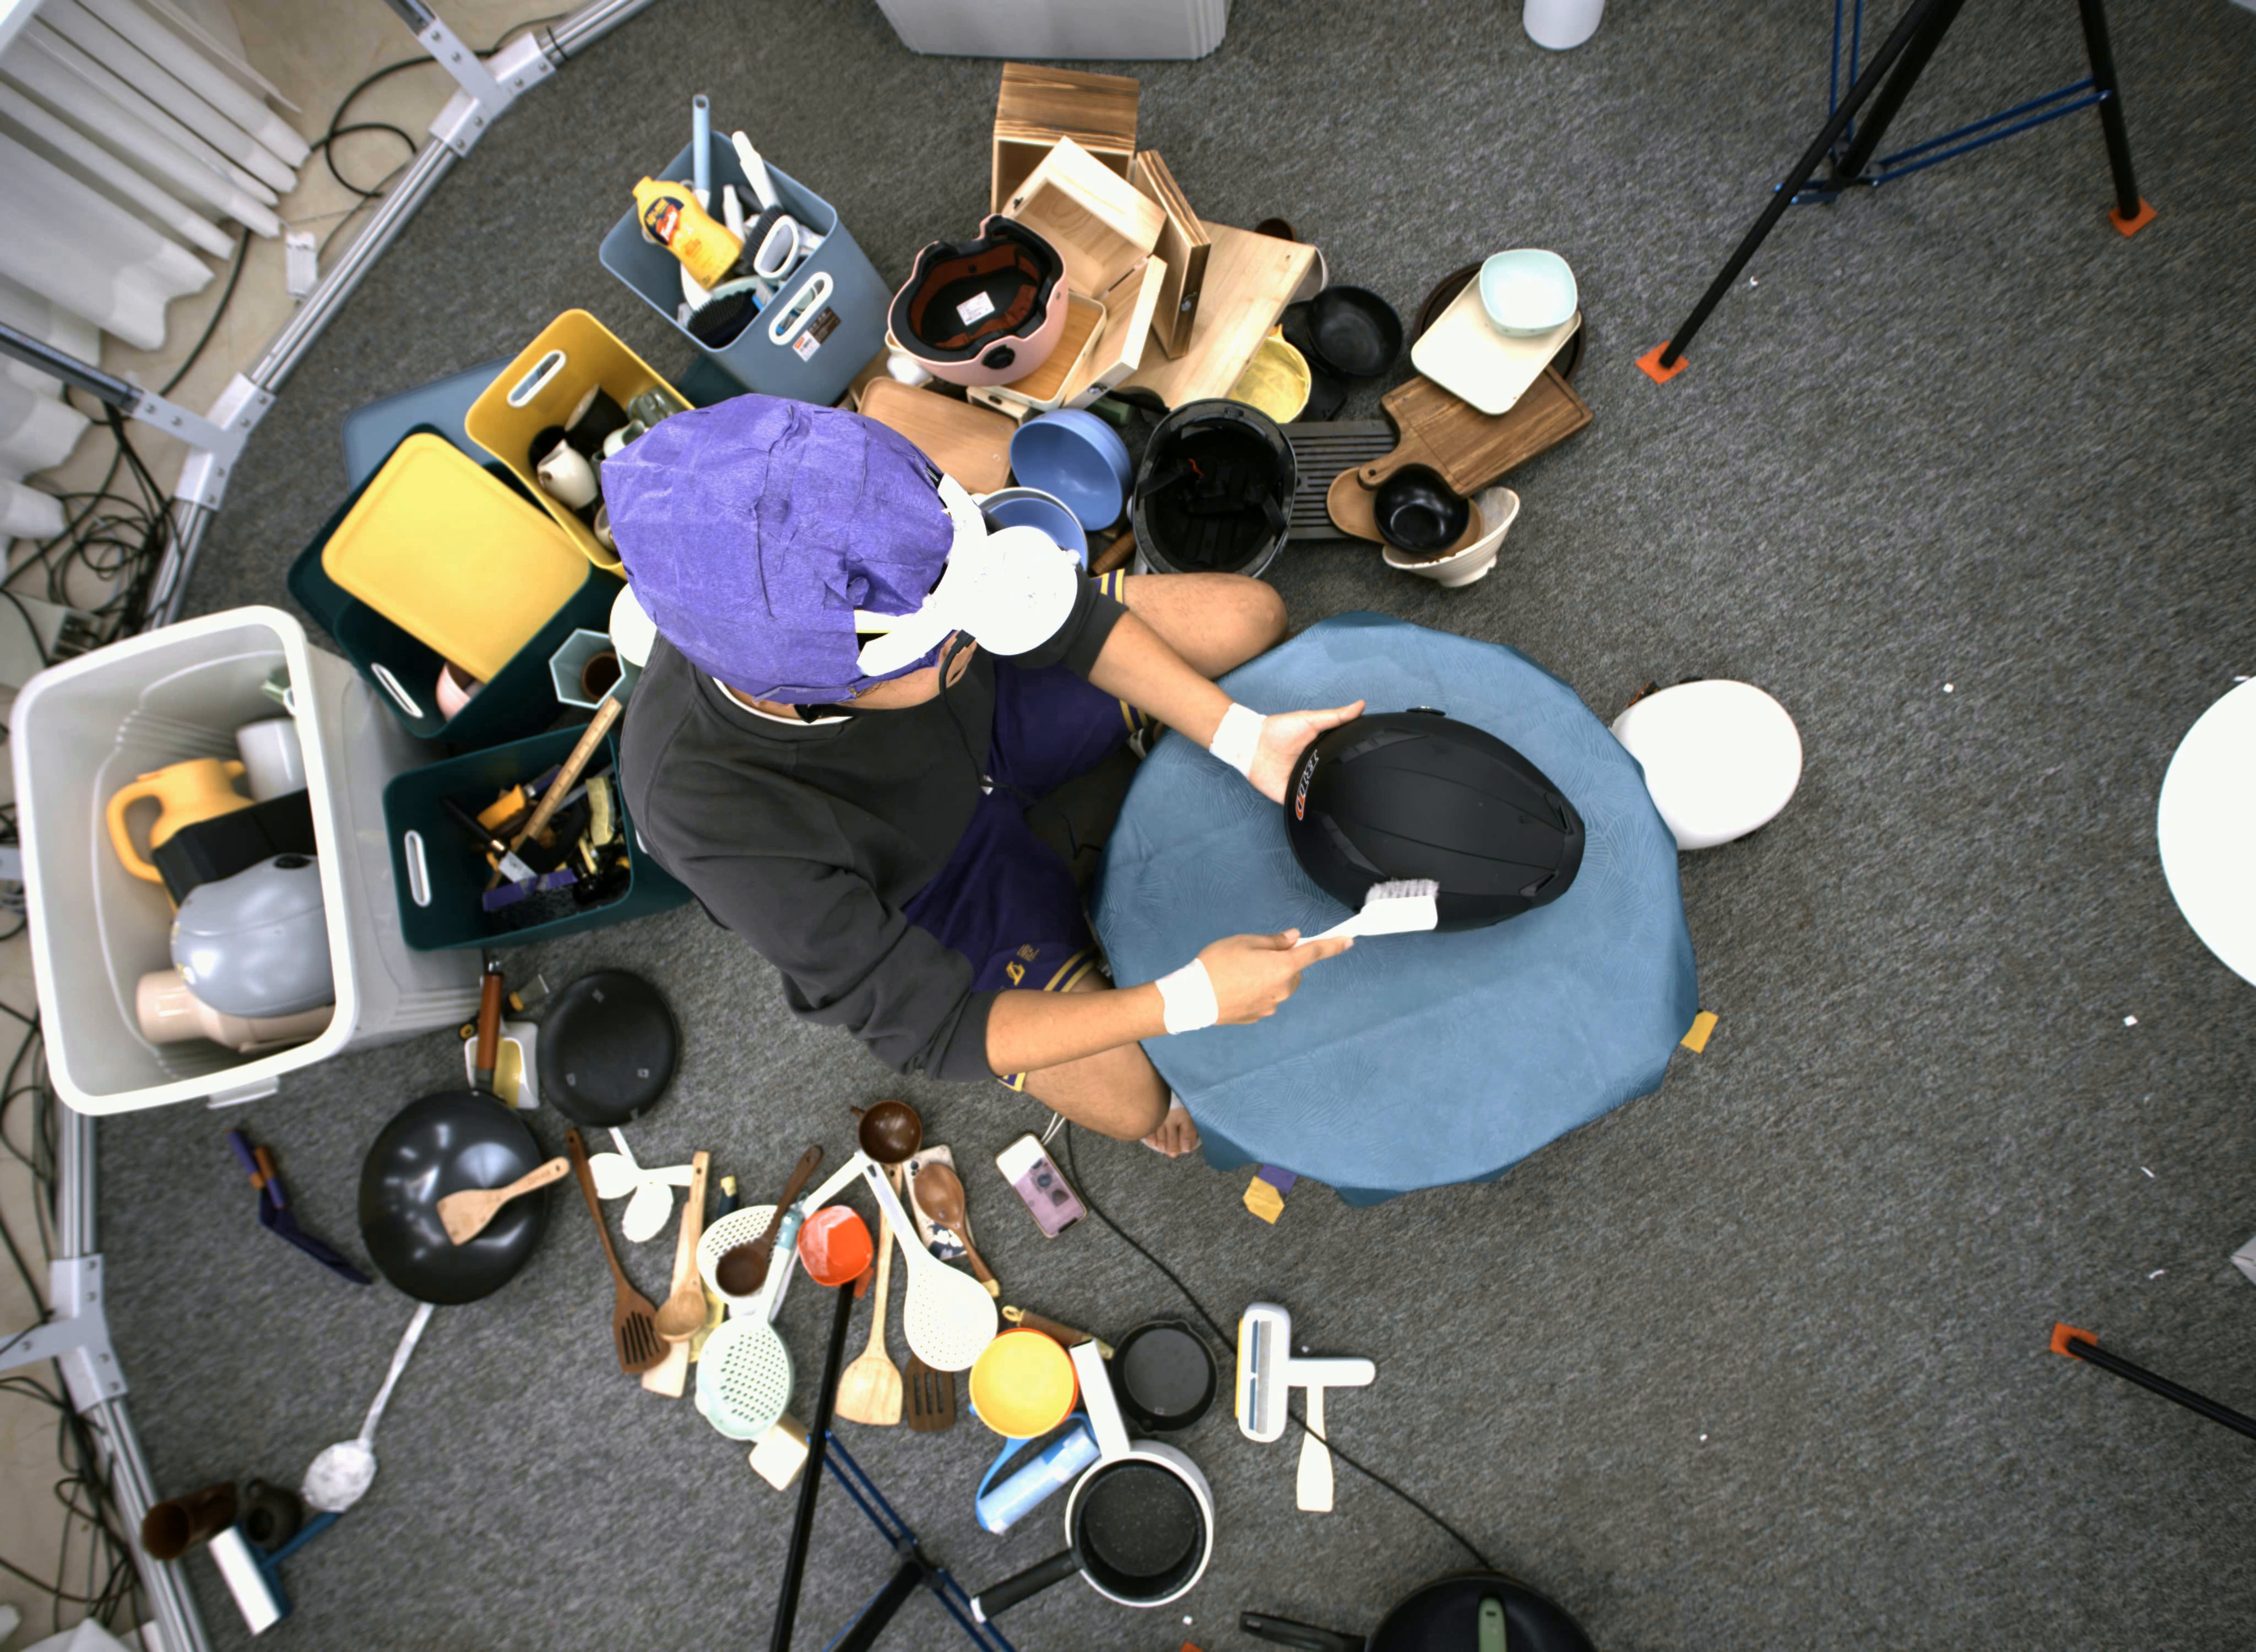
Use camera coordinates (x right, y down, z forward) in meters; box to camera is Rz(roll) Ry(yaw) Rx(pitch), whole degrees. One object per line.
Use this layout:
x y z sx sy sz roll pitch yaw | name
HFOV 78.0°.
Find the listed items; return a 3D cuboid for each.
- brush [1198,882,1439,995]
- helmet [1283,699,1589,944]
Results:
0.177 0.101 1.289 0.243 0.035 0.049 -17 39 -2 | brush
0.305 -0.009 1.360 0.277 0.172 0.246 18 88 -7 | helmet
